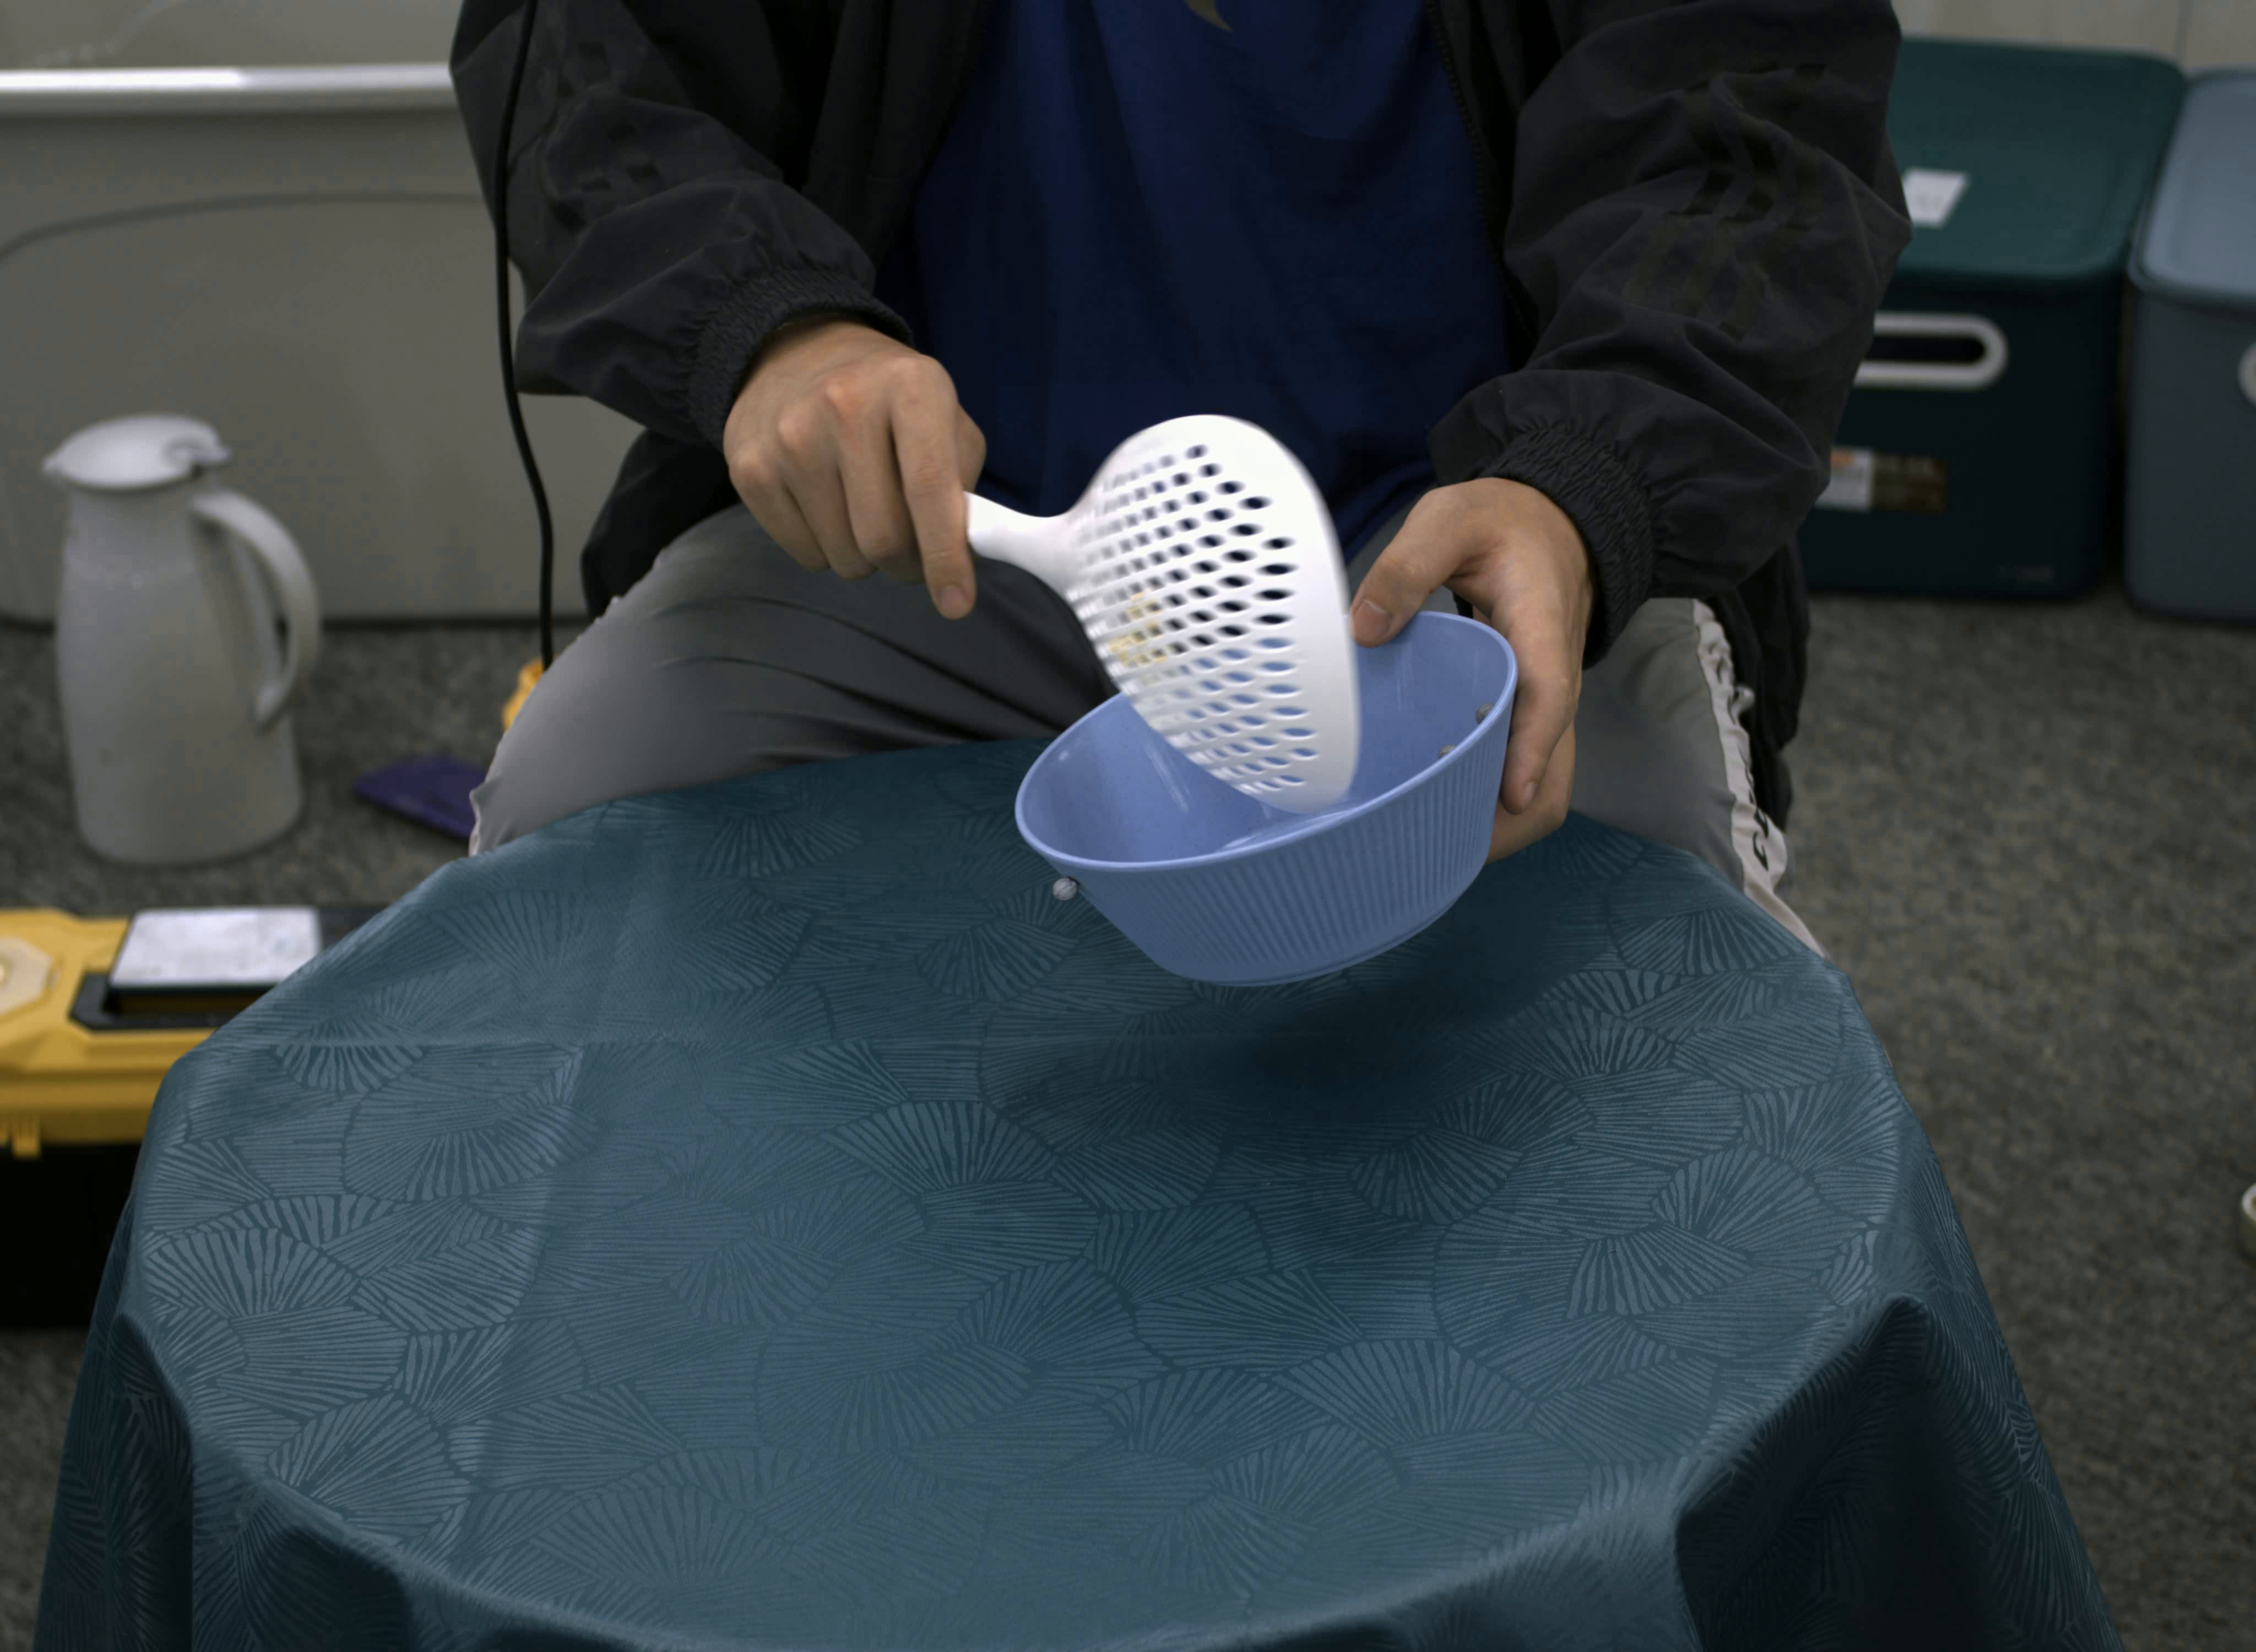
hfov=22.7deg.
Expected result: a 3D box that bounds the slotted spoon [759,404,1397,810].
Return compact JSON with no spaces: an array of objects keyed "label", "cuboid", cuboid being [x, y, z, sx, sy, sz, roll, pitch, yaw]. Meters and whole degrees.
[{"label":"slotted spoon","cuboid":[-0.024,-0.092,1.925,0.050,0.136,0.348,-17,22,-27]}]

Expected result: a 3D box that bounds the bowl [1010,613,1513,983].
[{"label":"bowl","cuboid":[0.053,-0.003,1.891,0.175,0.070,0.178,-15,23,7]}]
